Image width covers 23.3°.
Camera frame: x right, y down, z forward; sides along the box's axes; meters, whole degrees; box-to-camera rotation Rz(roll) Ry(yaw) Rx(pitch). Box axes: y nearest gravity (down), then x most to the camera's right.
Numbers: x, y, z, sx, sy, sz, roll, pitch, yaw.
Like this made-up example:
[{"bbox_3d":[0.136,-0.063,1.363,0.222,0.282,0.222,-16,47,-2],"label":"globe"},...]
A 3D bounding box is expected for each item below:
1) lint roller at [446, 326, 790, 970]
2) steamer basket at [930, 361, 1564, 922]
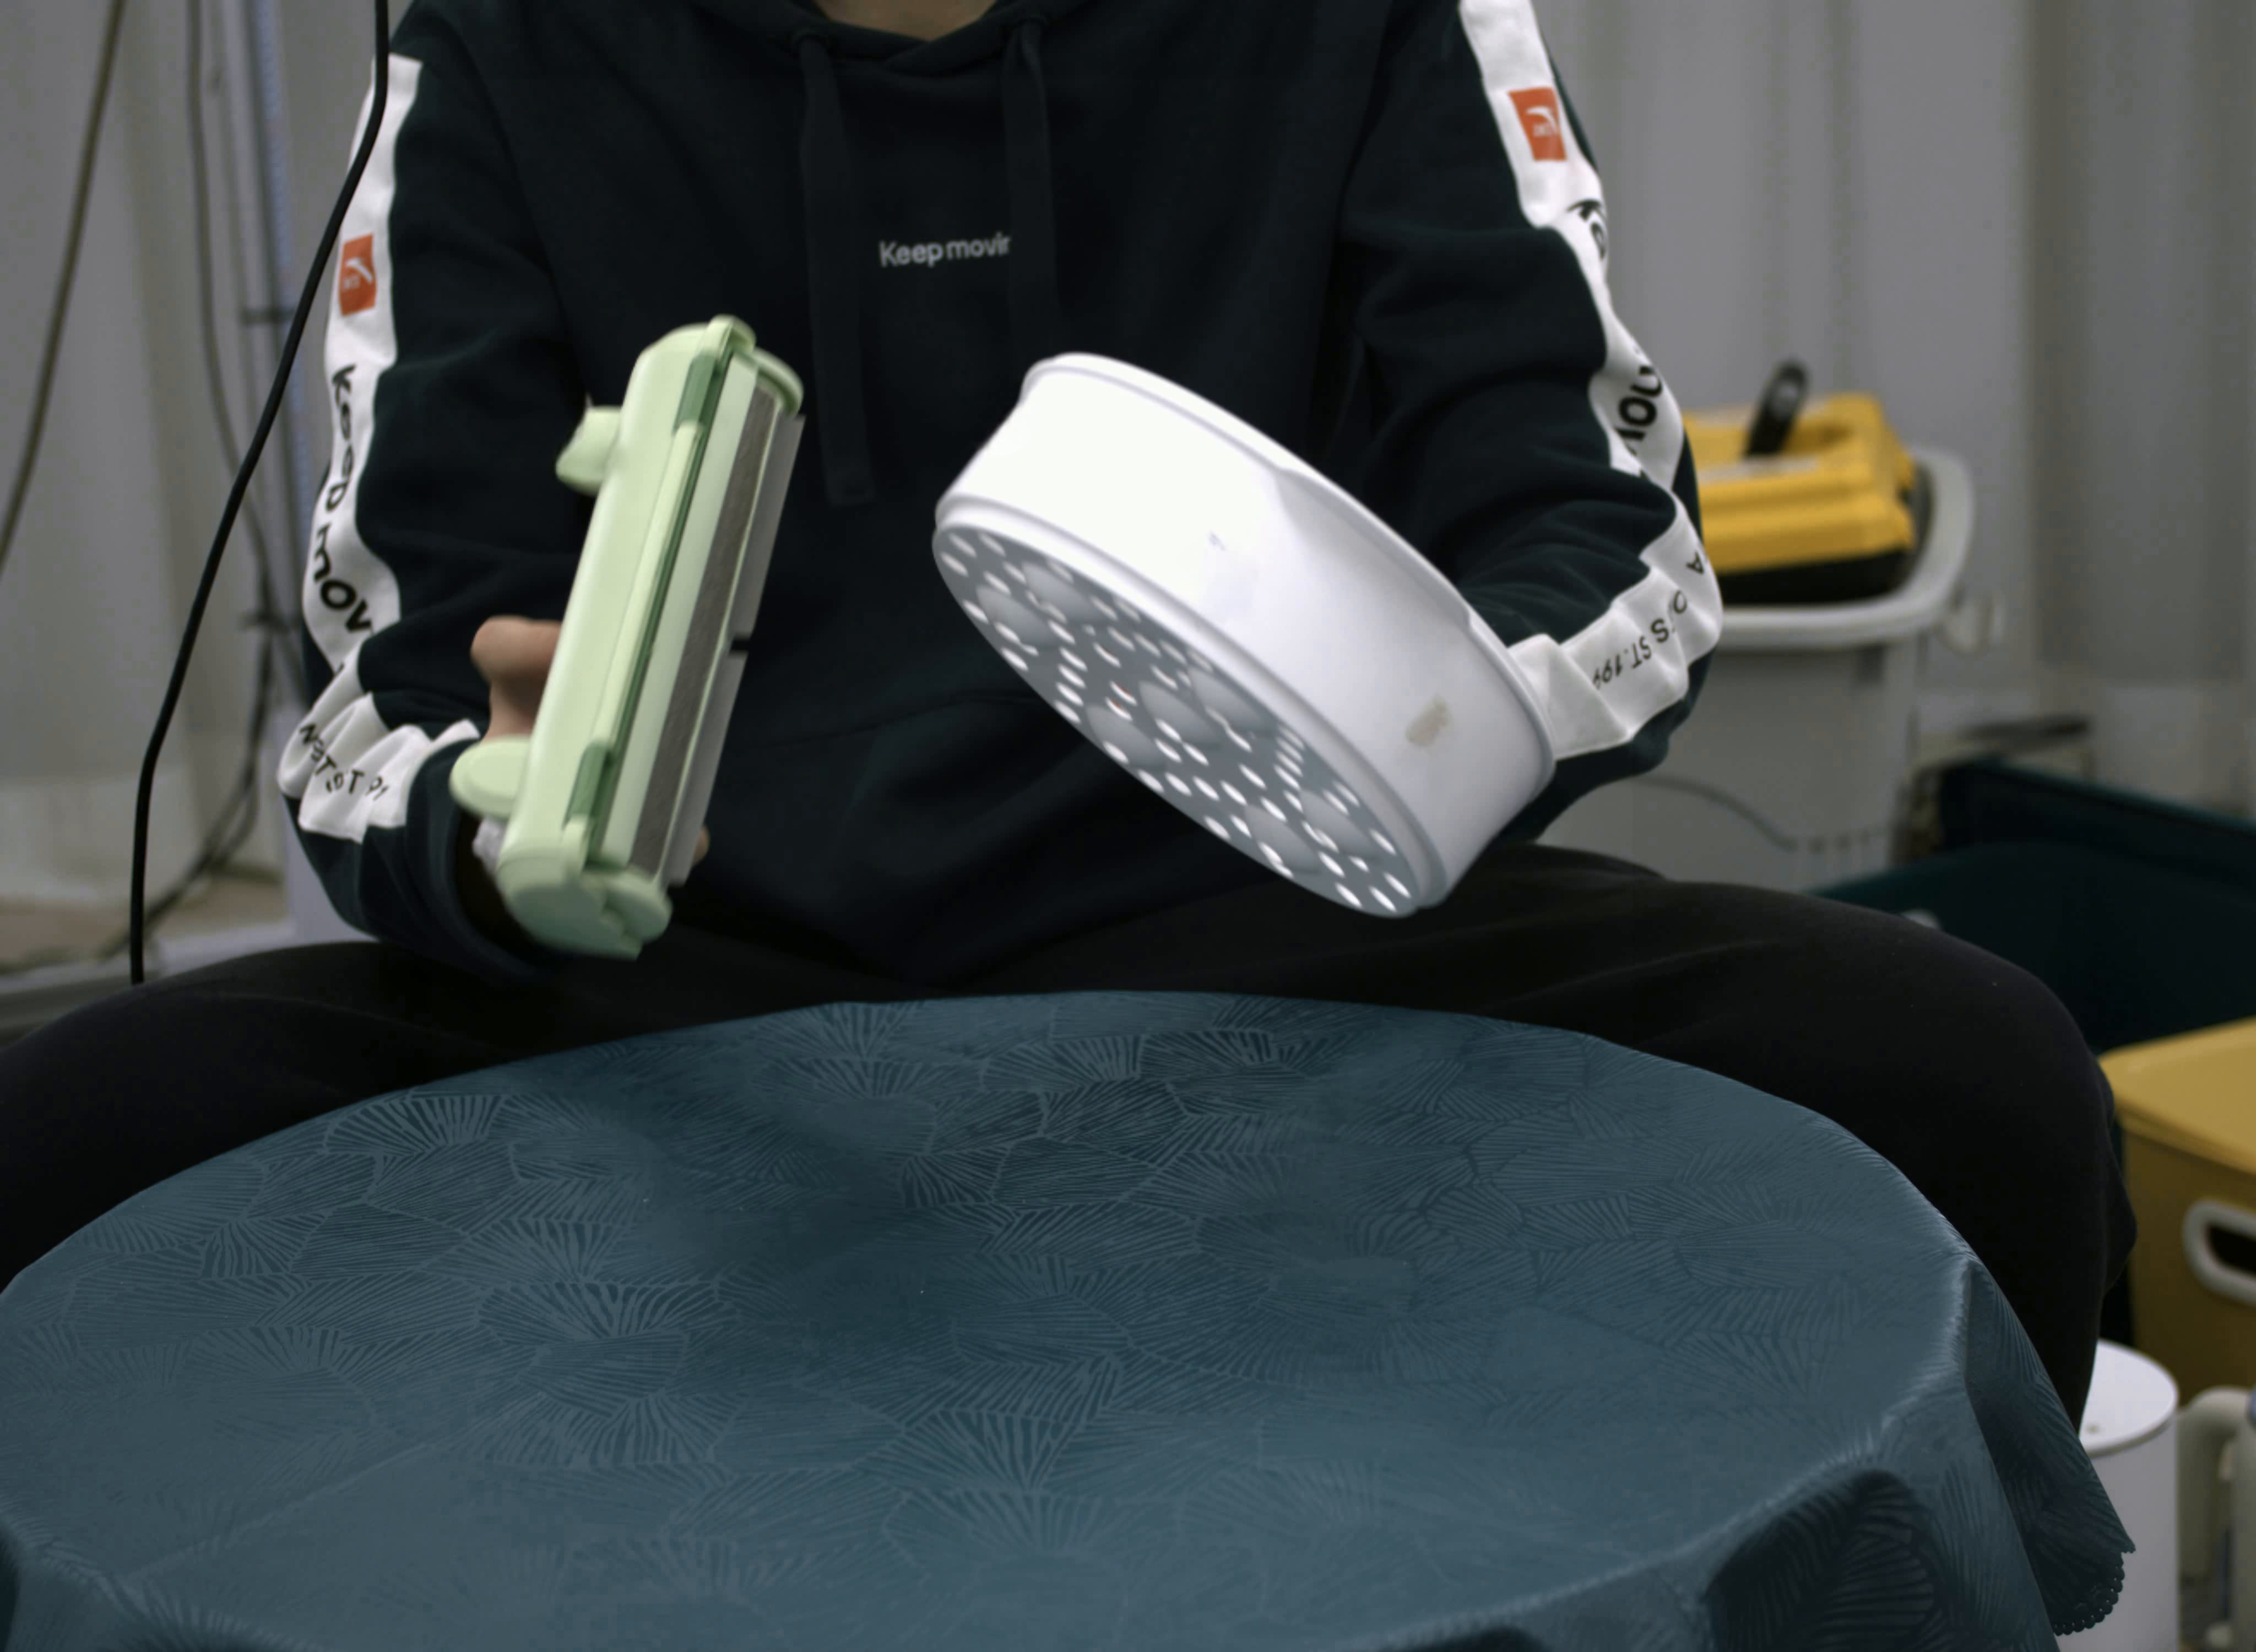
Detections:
[{"bbox_3d":[-0.170,-0.039,1.723,0.081,0.201,0.182,18,-25,-12],"label":"lint roller"},{"bbox_3d":[0.033,-0.051,1.649,0.201,0.069,0.230,40,-11,-8],"label":"steamer basket"}]
